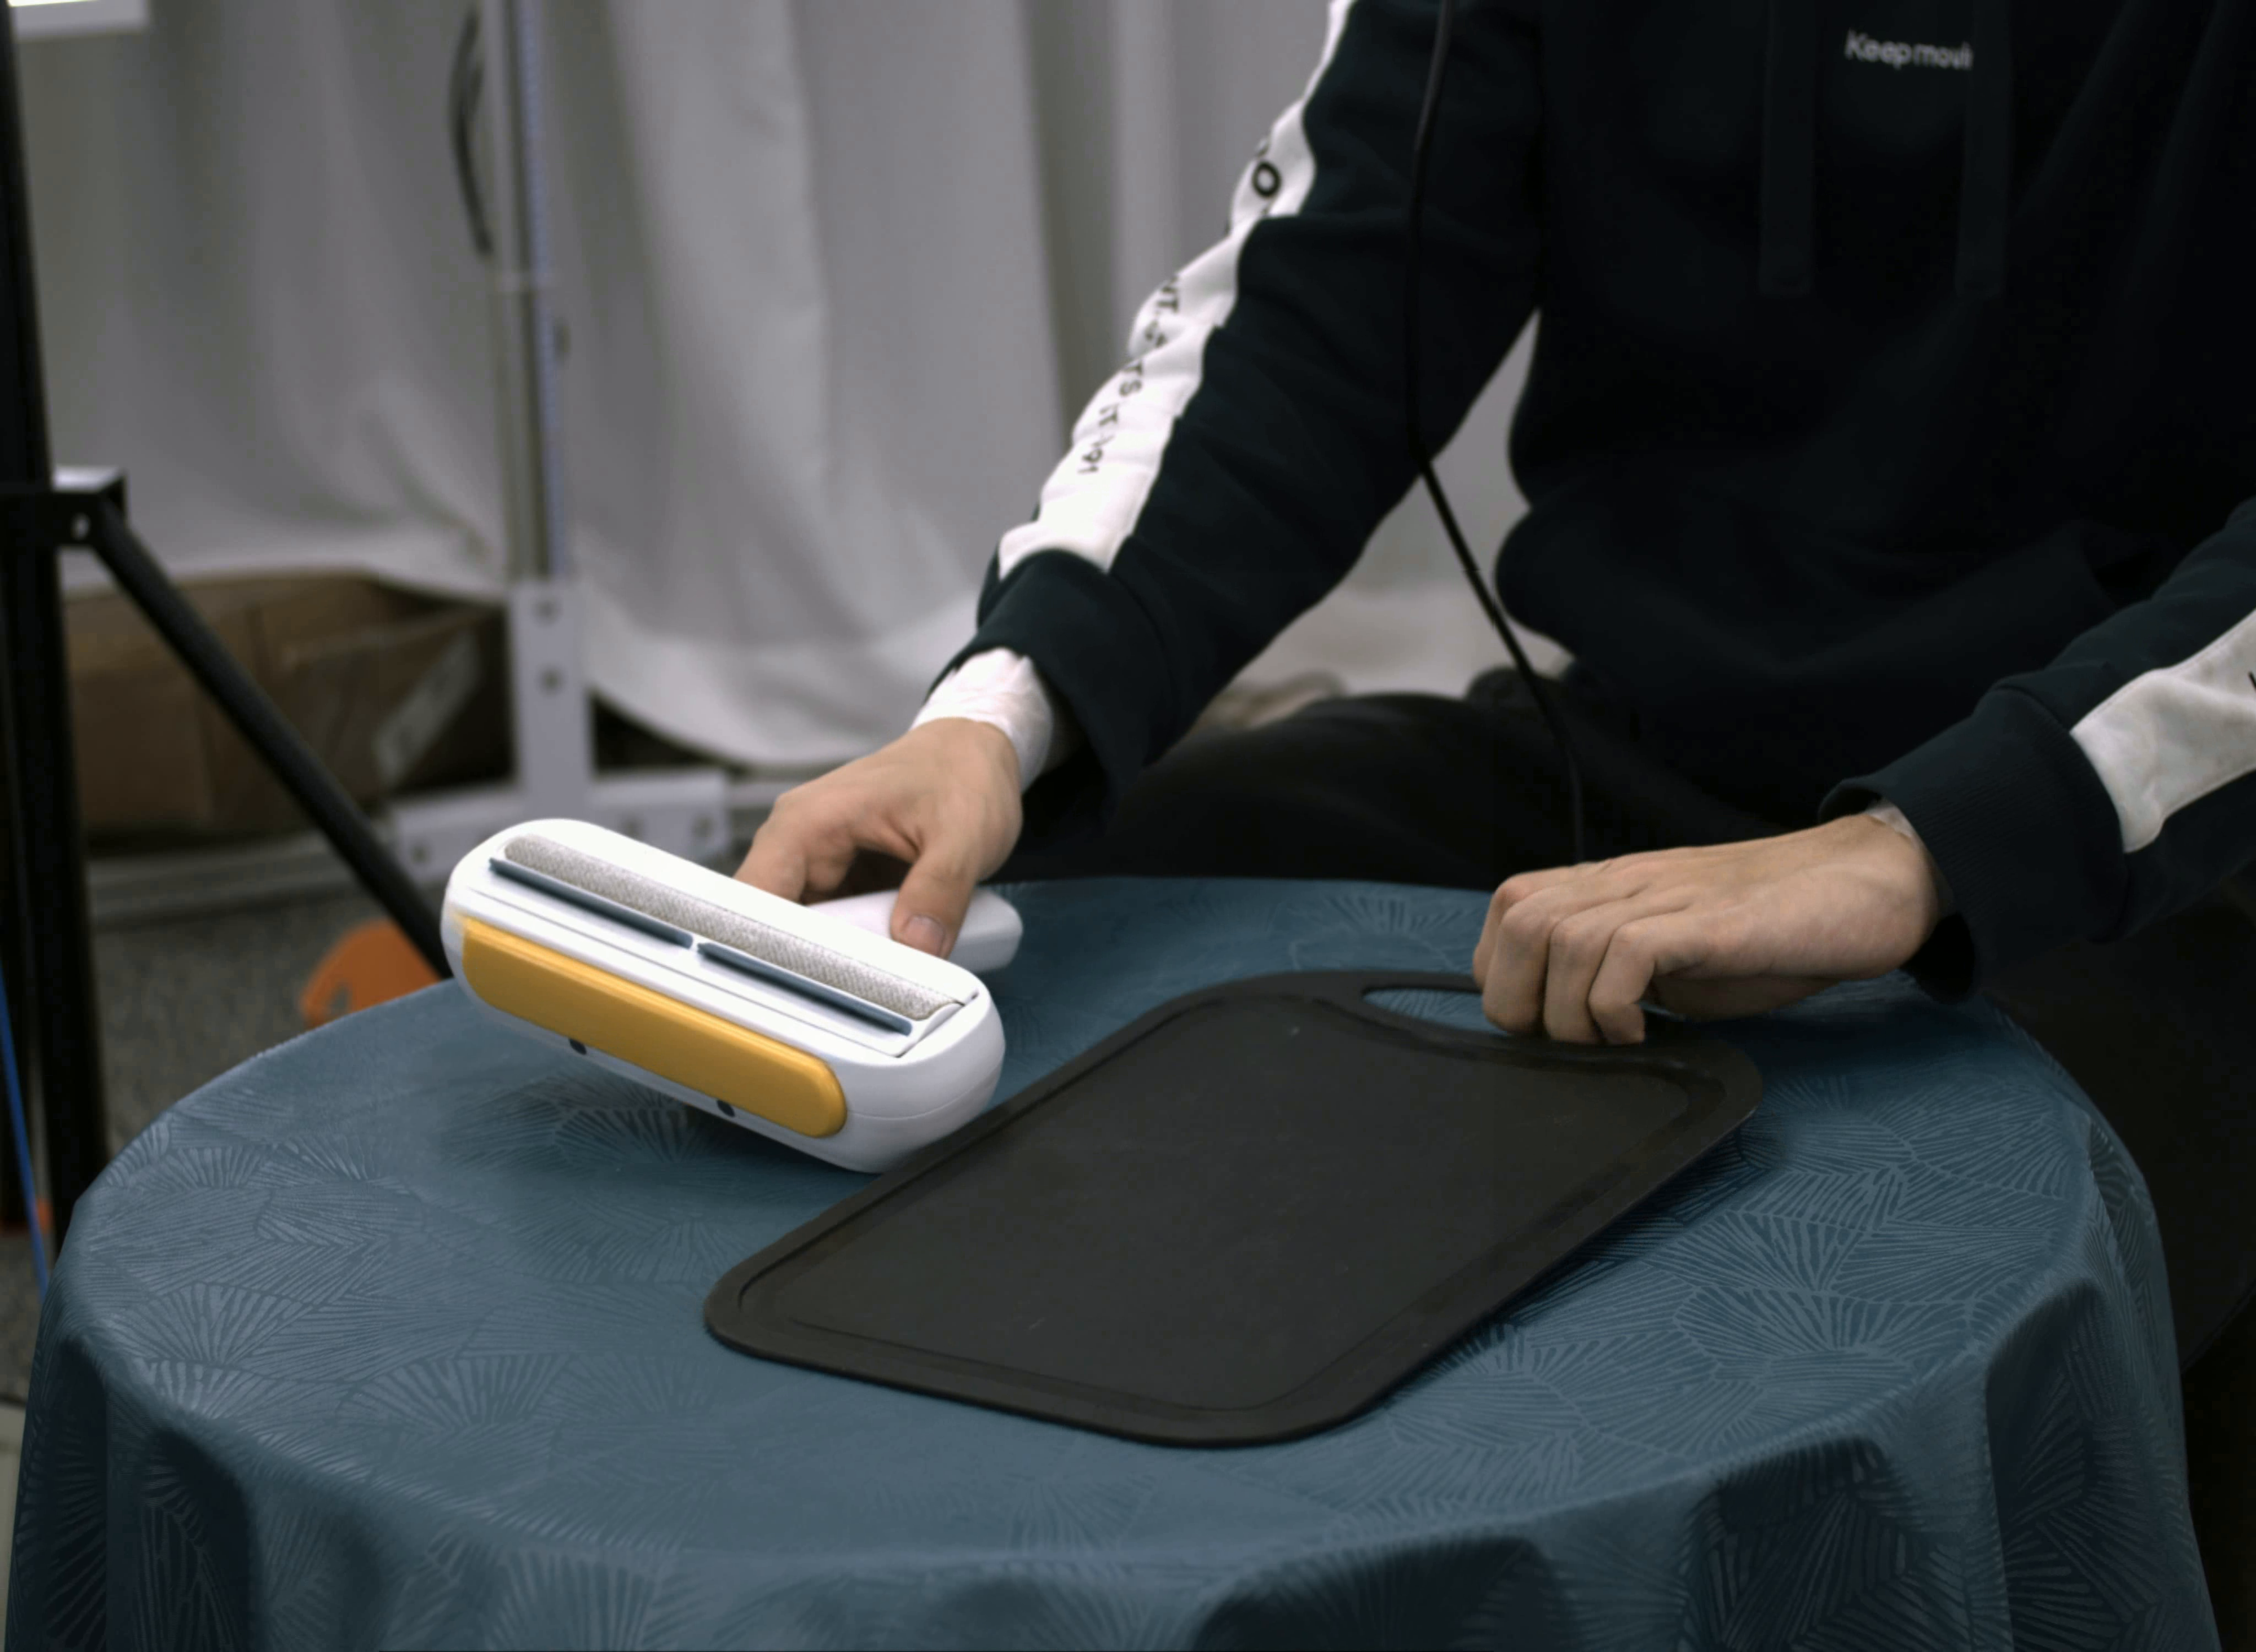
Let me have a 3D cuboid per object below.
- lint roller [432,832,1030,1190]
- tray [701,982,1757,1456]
[{"bbox_3d":[-0.098,0.059,1.681,0.197,0.074,0.187,20,15,36],"label":"lint roller"},{"bbox_3d":[0.038,0.102,1.529,0.215,0.010,0.319,9,23,34],"label":"tray"}]
